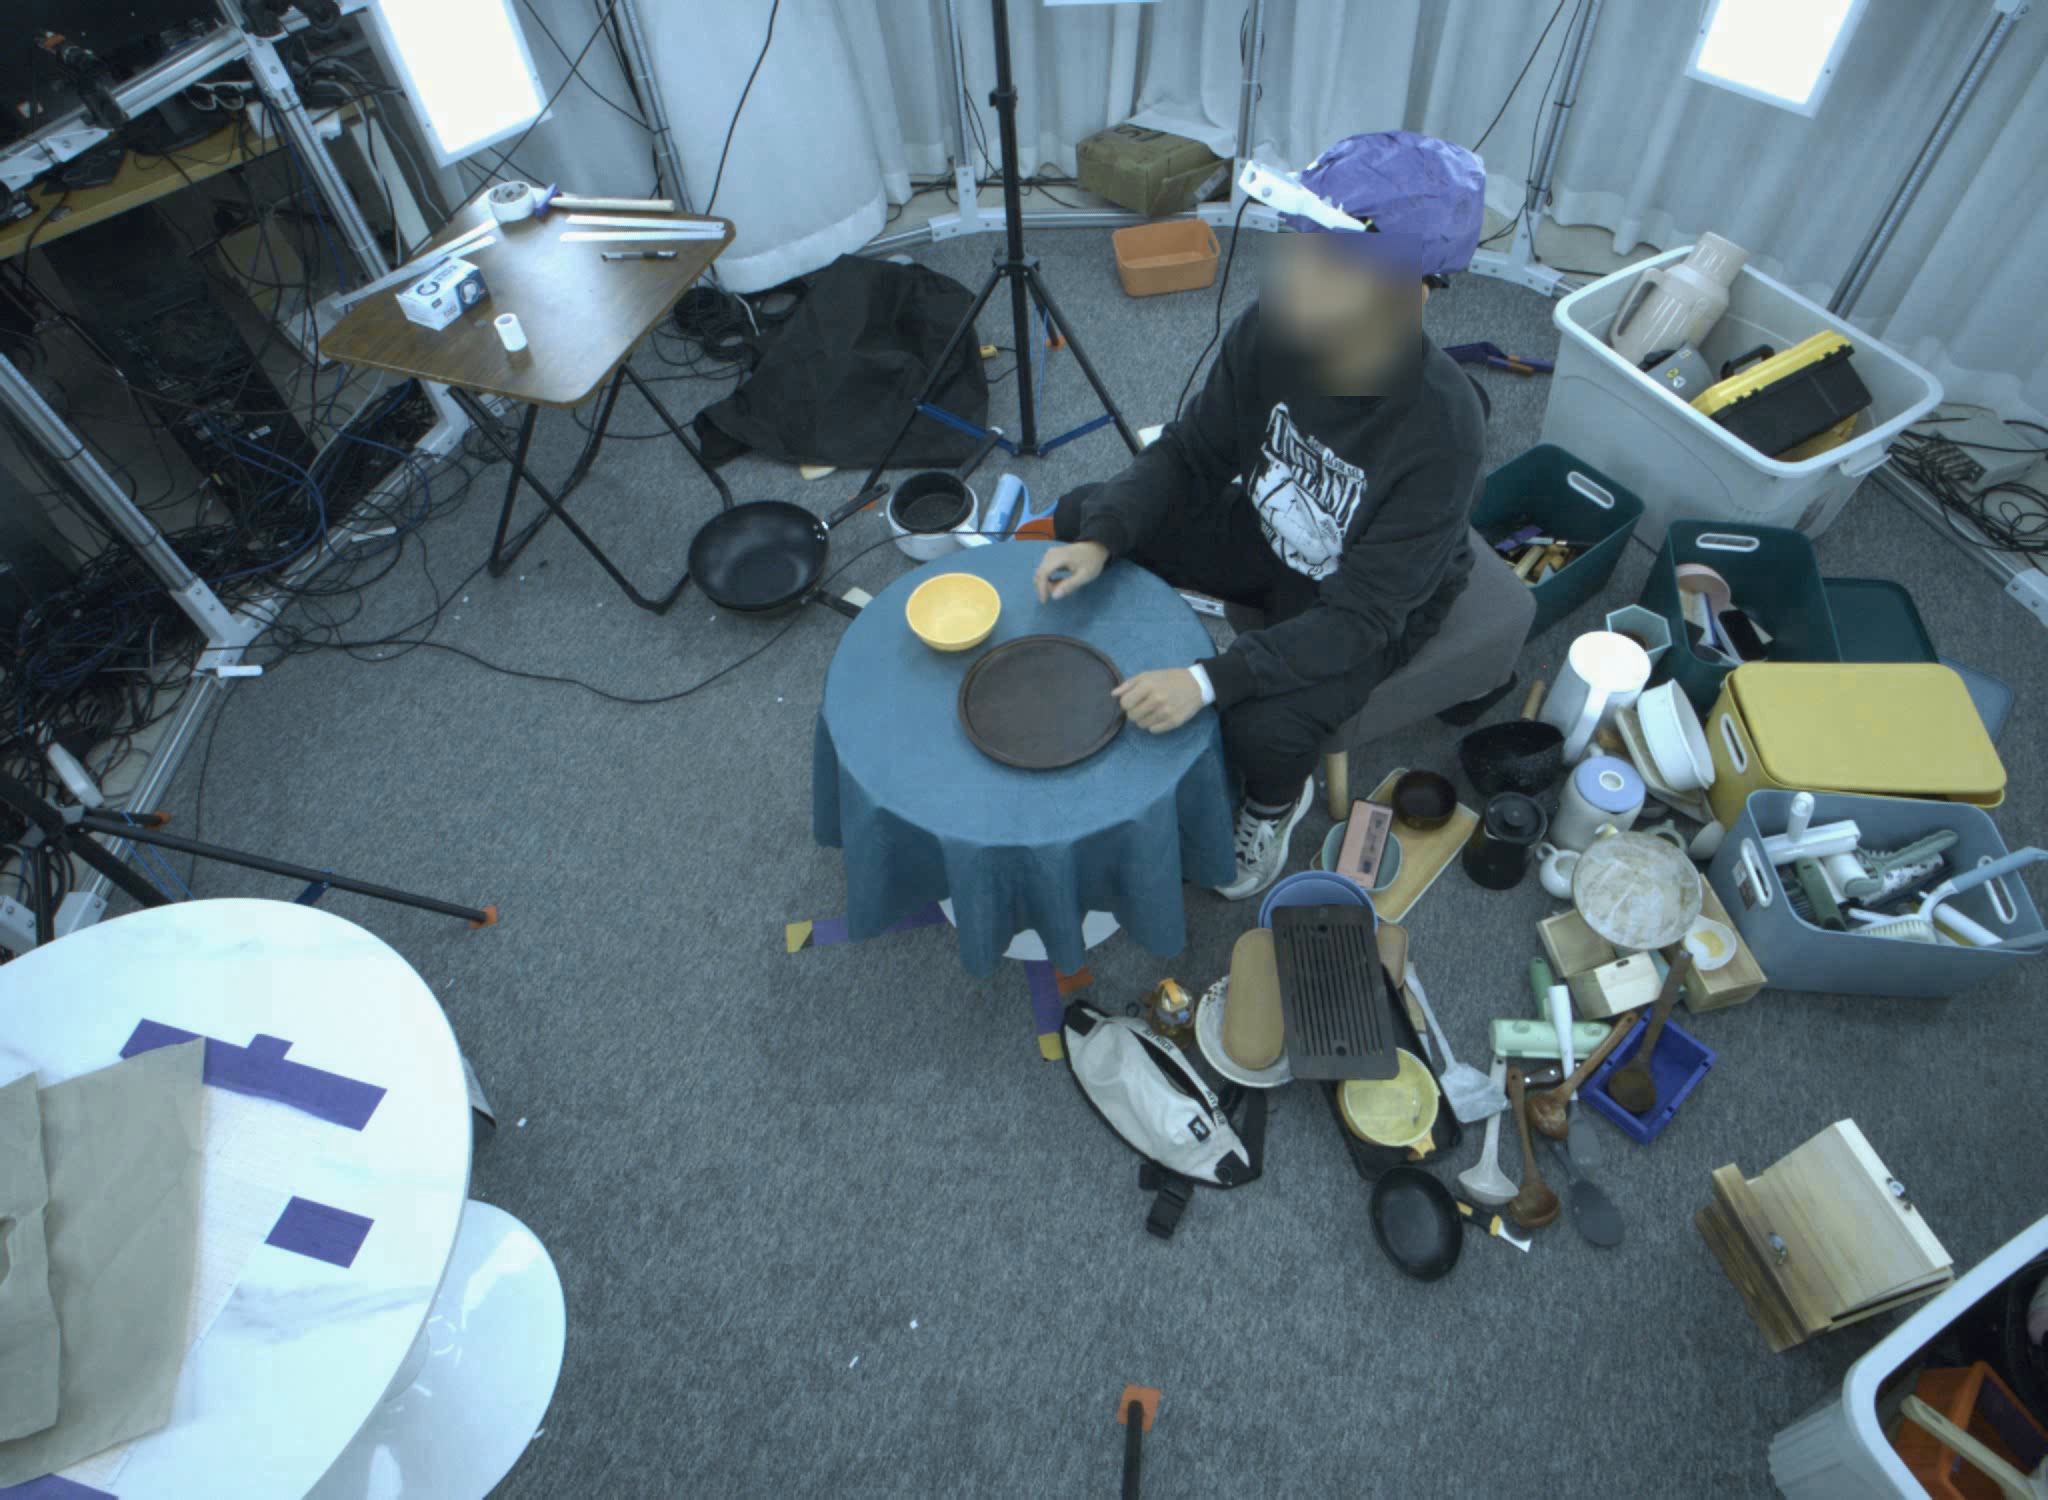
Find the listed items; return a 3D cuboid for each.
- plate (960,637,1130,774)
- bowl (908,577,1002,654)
[{"bbox_3d":[0.031,-0.067,1.830,0.254,0.029,0.252,-1,53,2],"label":"plate"},{"bbox_3d":[-0.106,-0.197,1.906,0.145,0.060,0.144,1,55,-1],"label":"bowl"}]
